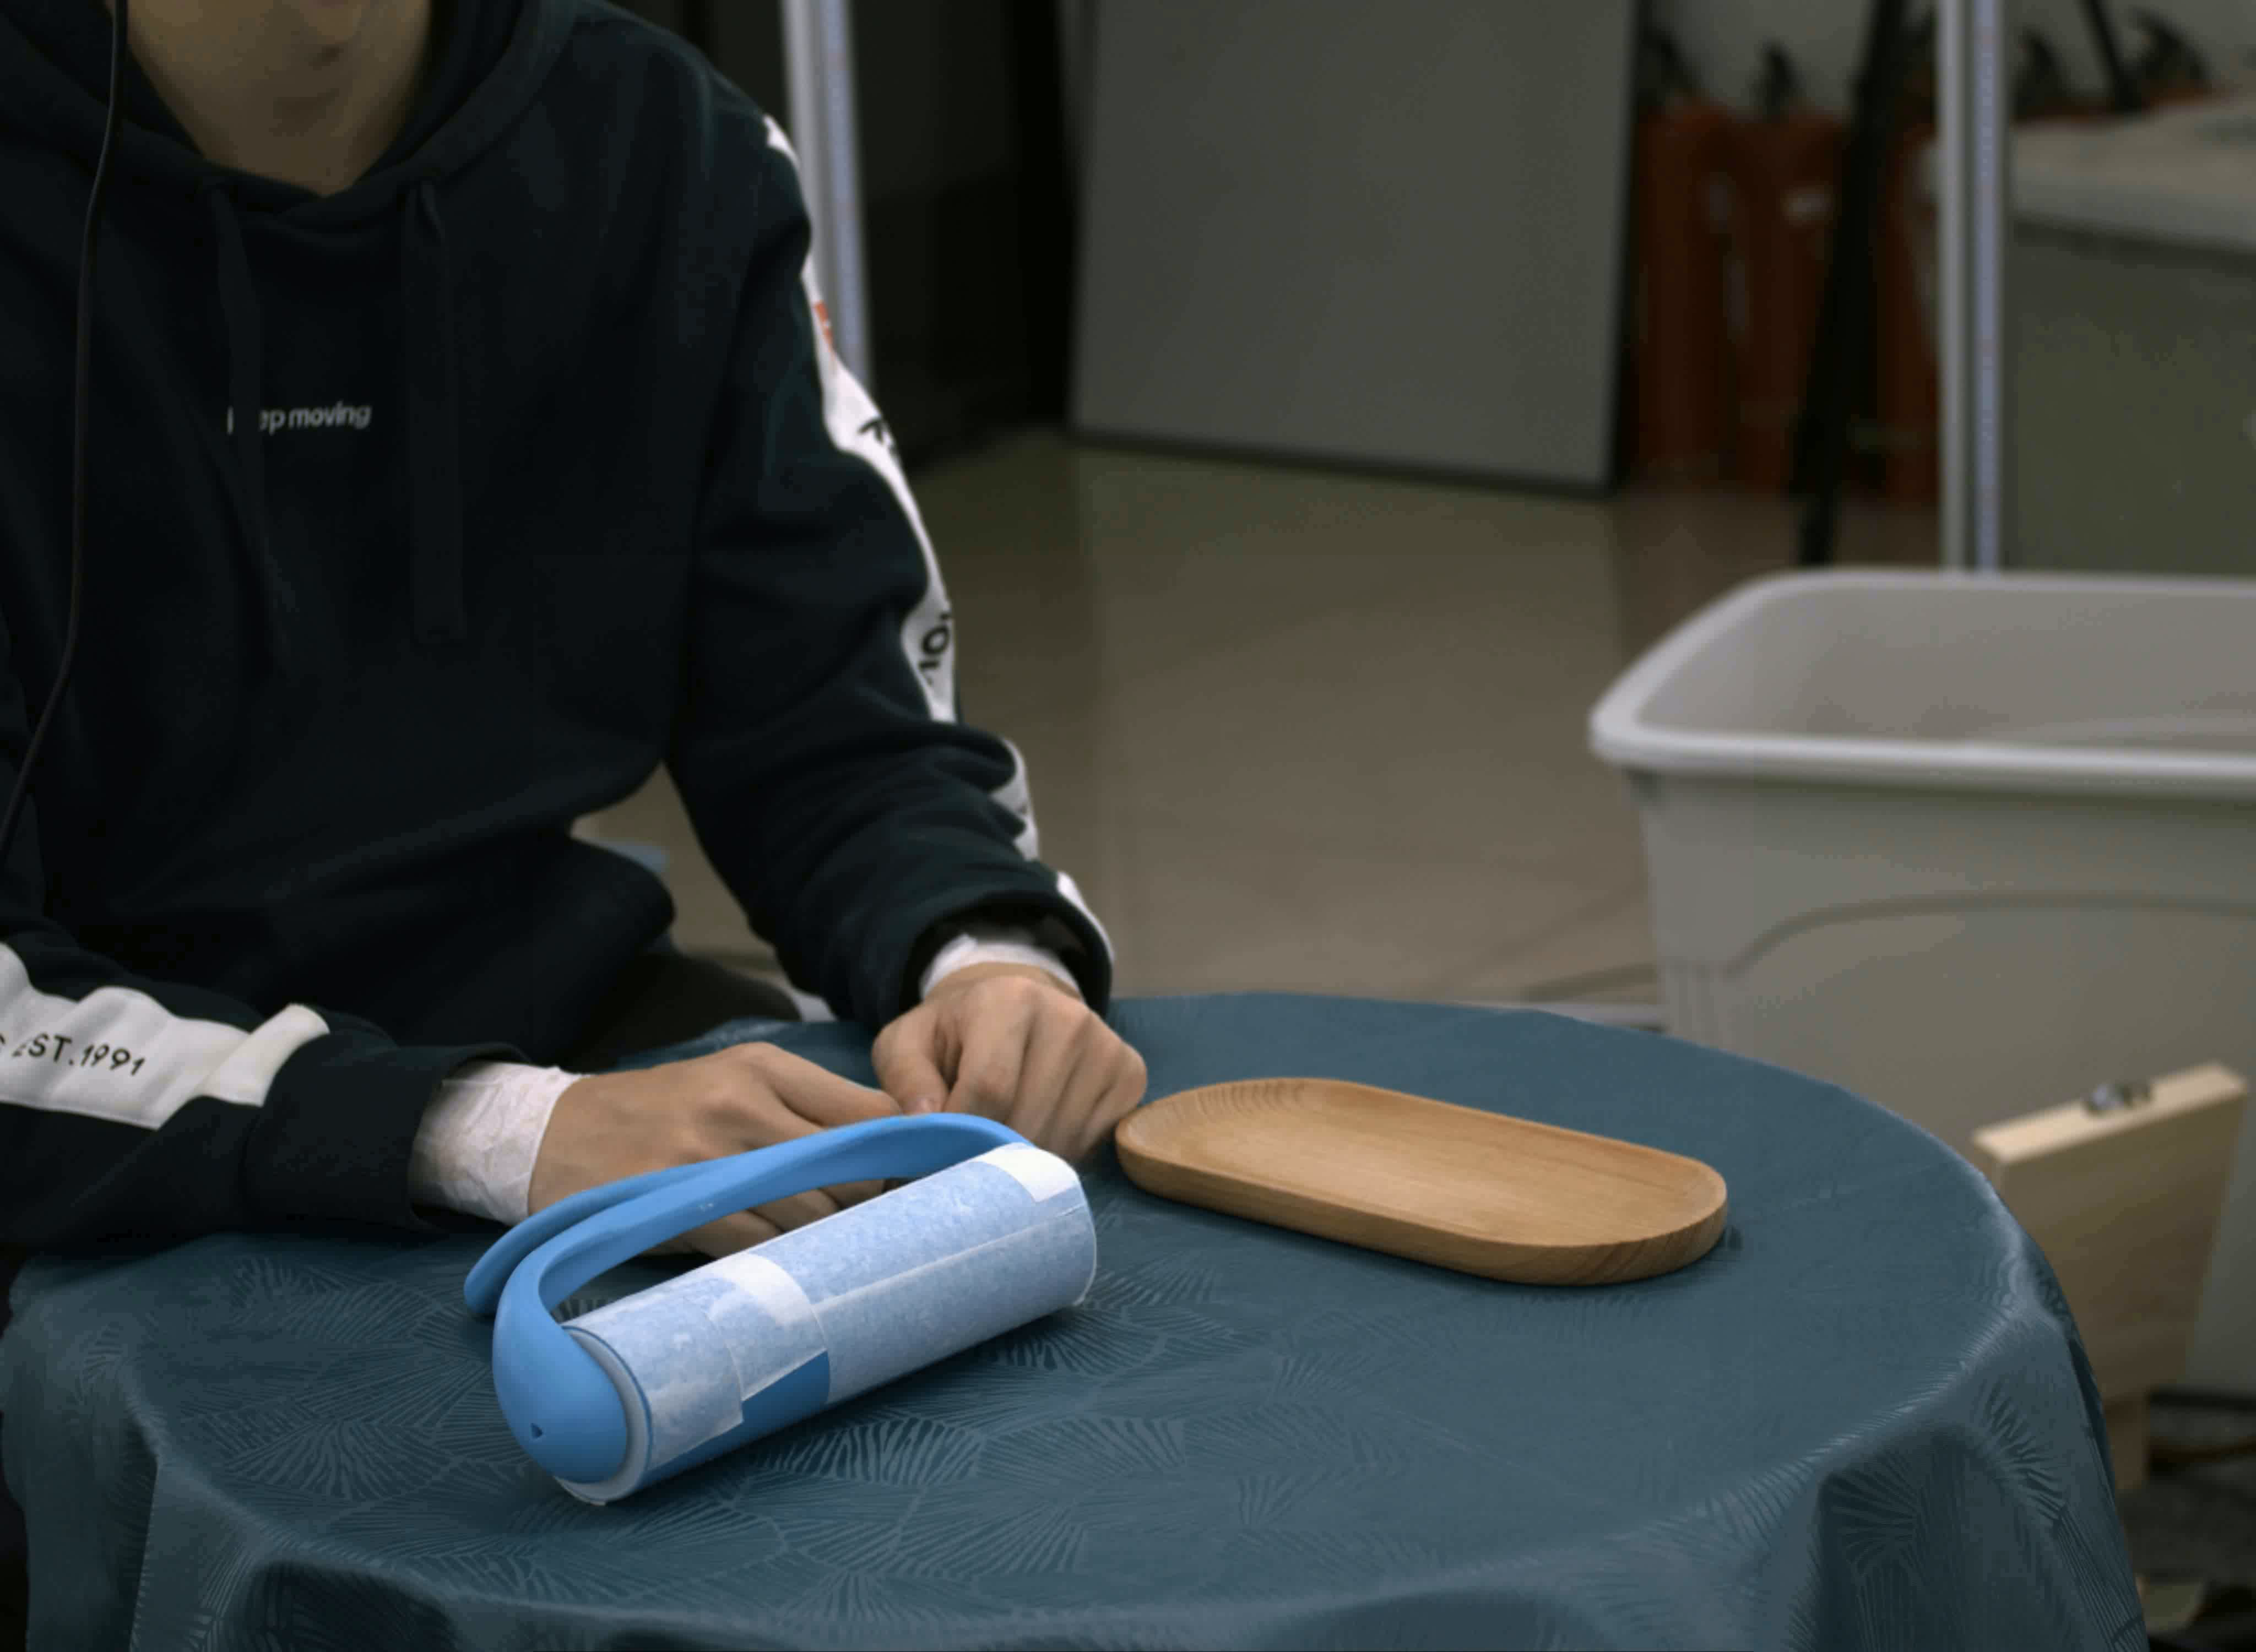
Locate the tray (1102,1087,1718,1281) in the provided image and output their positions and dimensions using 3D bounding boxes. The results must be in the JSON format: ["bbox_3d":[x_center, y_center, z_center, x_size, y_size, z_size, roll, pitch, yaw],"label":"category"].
[{"bbox_3d":[0.089,0.115,1.739,0.233,0.020,0.099,7,16,44],"label":"tray"}]

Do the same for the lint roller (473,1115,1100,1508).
[{"bbox_3d":[-0.135,0.137,1.627,0.181,0.068,0.225,8,20,39],"label":"lint roller"}]
